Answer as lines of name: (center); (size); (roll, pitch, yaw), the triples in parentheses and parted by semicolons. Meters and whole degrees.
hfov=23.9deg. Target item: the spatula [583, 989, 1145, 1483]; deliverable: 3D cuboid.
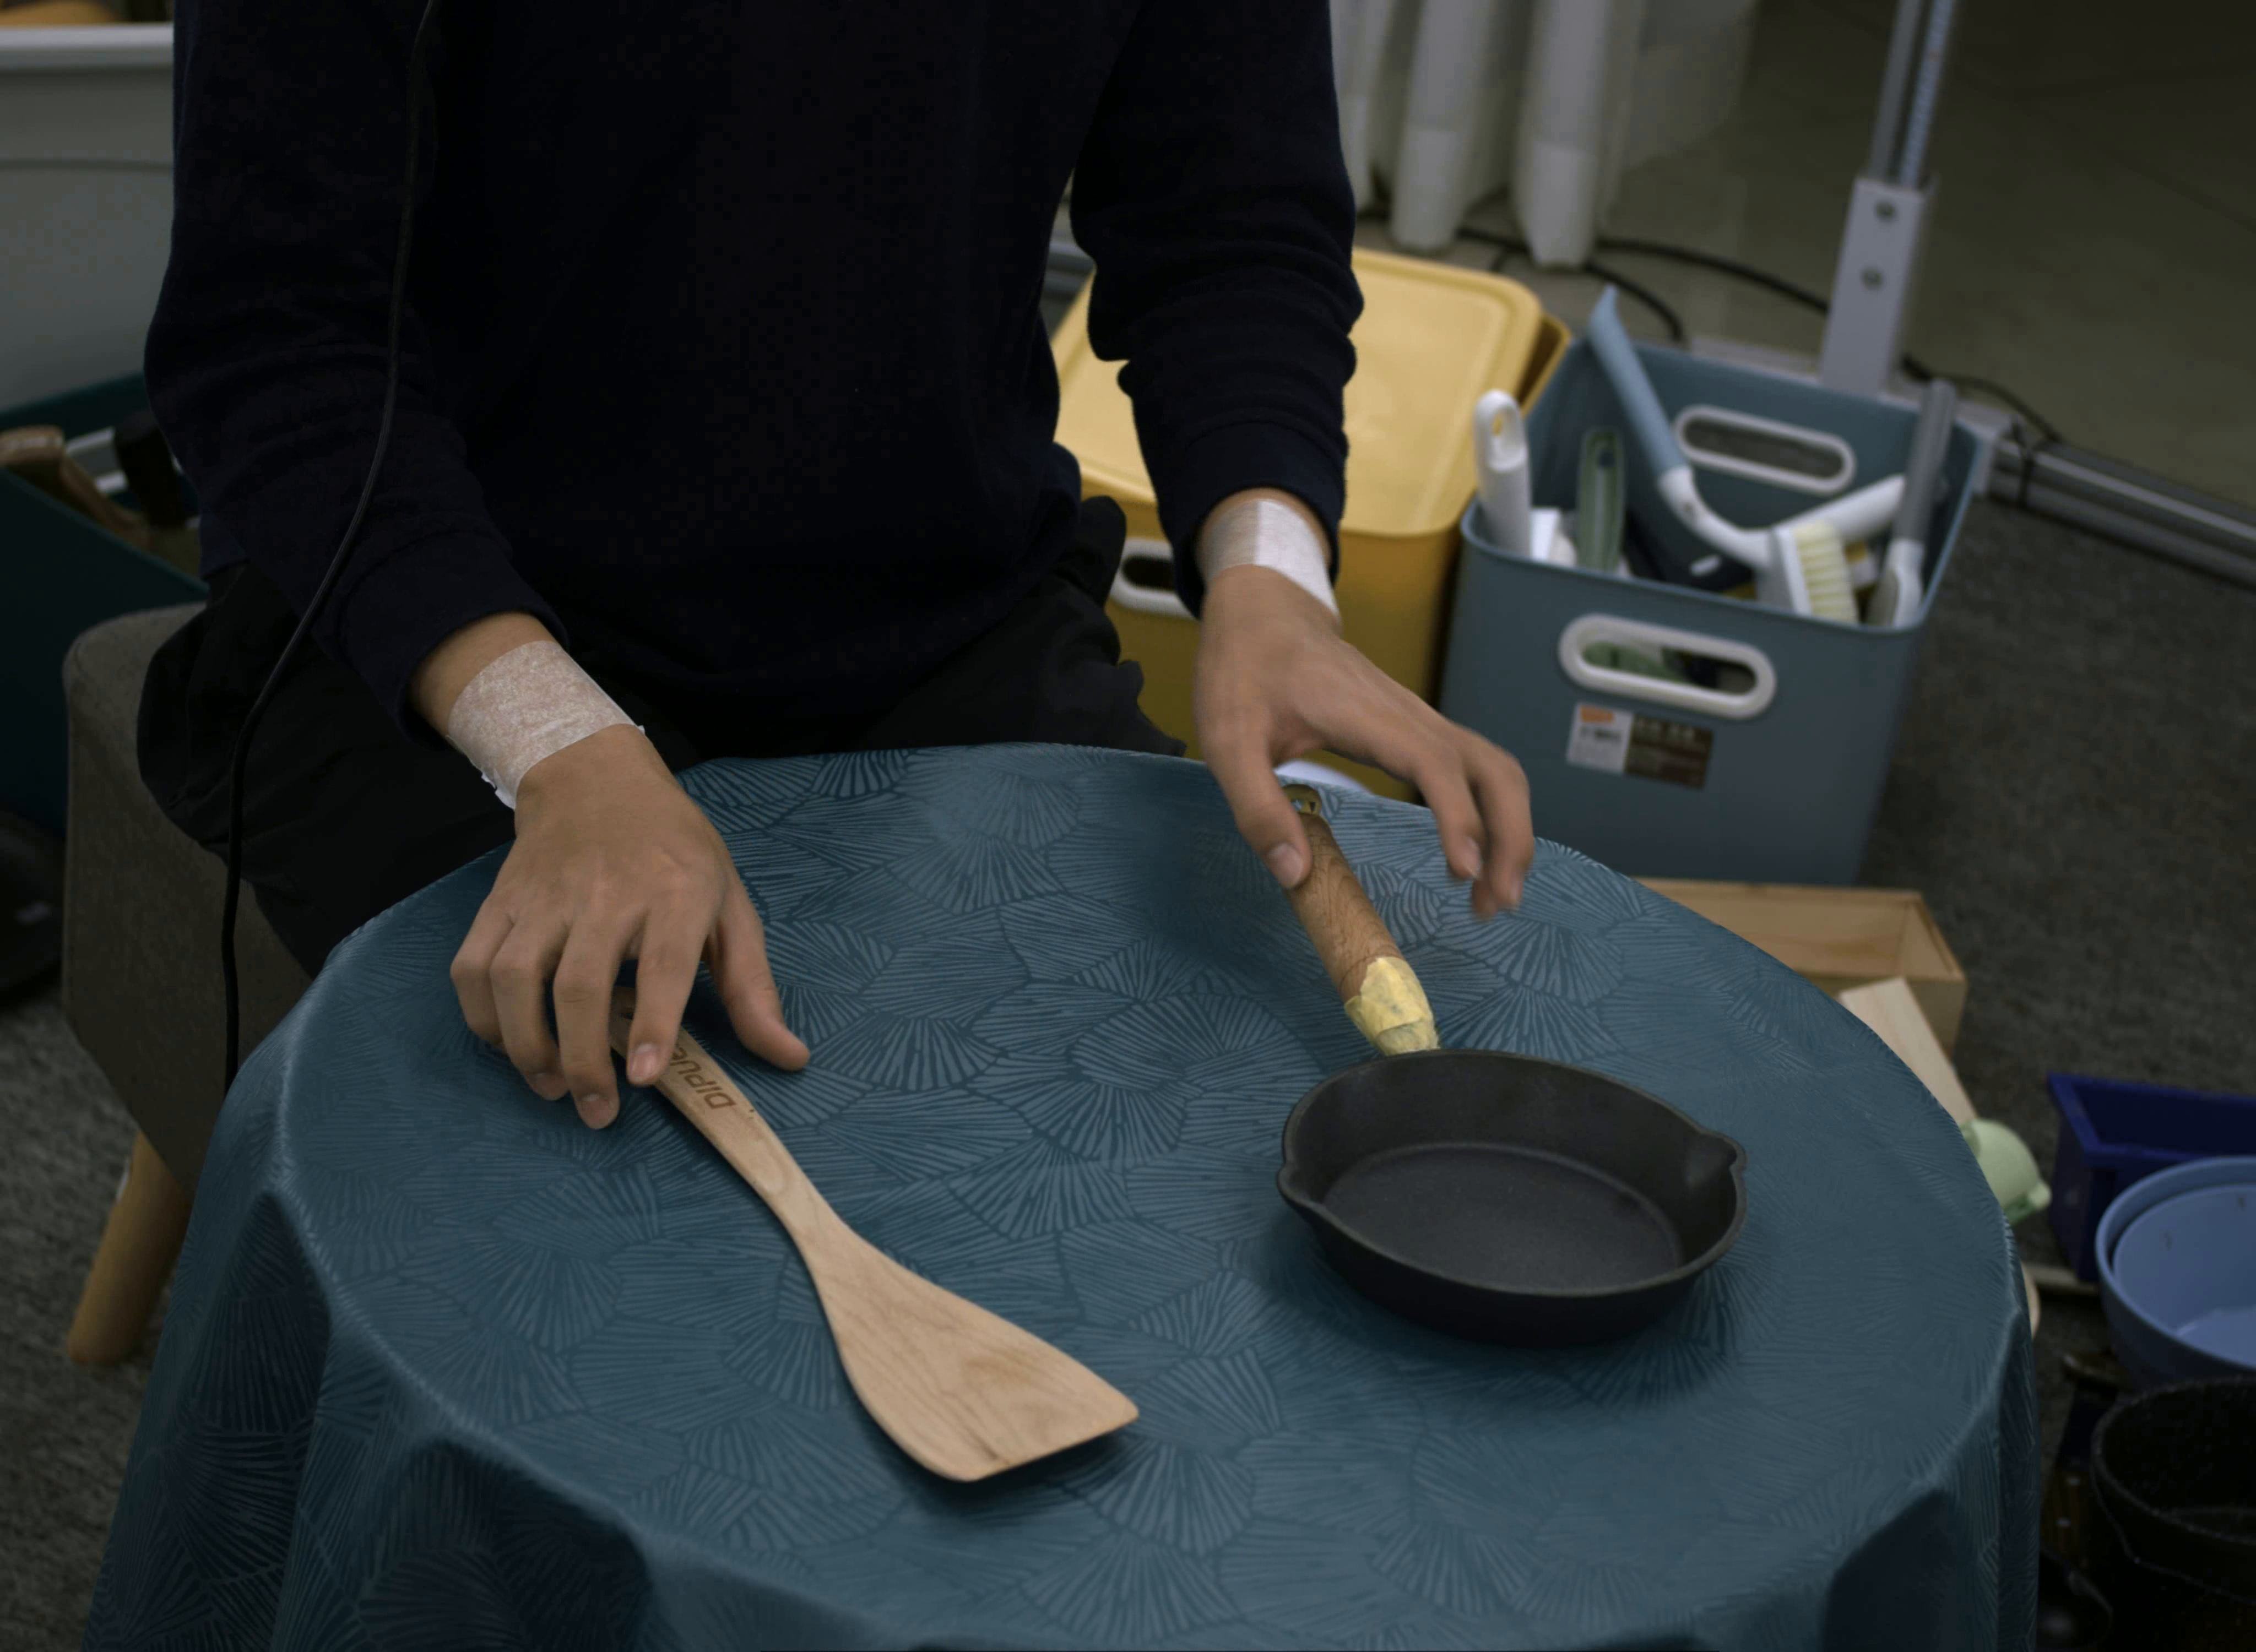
spatula: (-0.101, 0.128, 1.753); (0.079, 0.016, 0.330); (-9, 31, -30)

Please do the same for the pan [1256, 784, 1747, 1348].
pan: (0.104, 0.081, 1.854); (0.168, 0.049, 0.327); (-3, 30, -17)
